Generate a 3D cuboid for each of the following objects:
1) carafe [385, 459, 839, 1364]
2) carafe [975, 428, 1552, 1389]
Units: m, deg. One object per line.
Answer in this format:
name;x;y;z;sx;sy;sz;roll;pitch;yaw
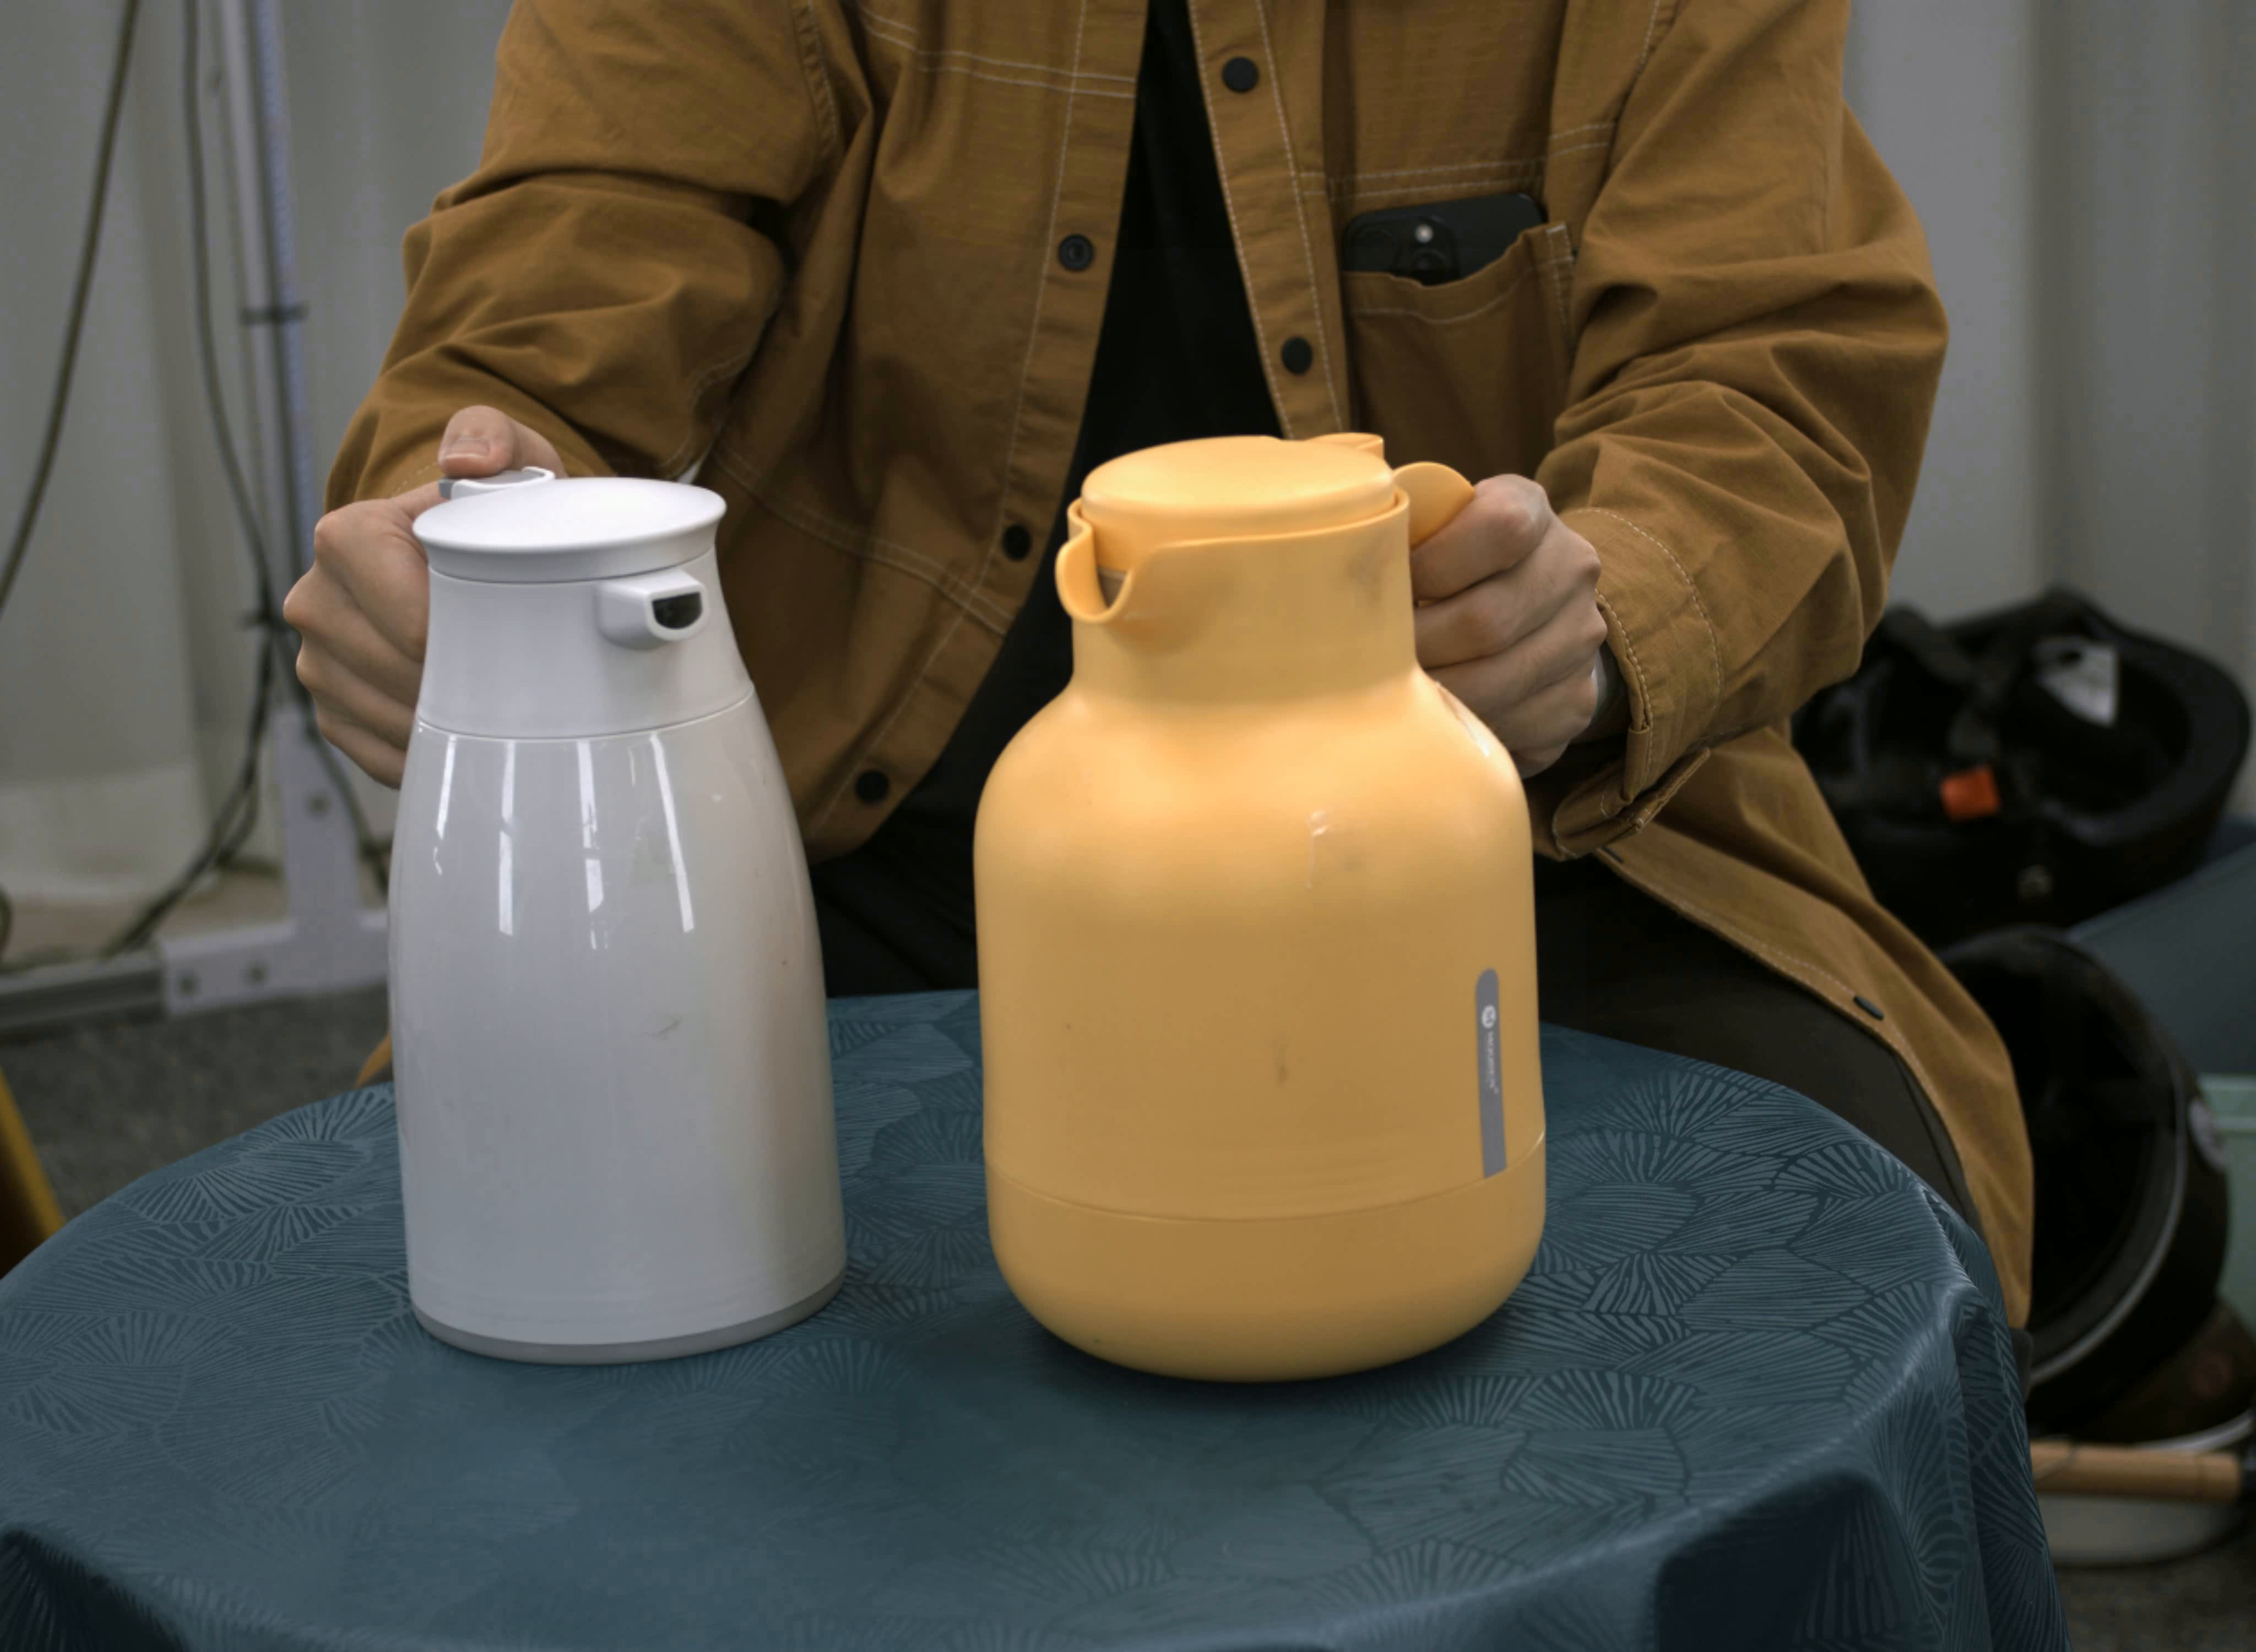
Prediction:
carafe;-0.169;0.017;1.634;0.132;0.248;0.169;-12;16;-33
carafe;0.050;0.016;1.579;0.164;0.259;0.202;10;20;37
